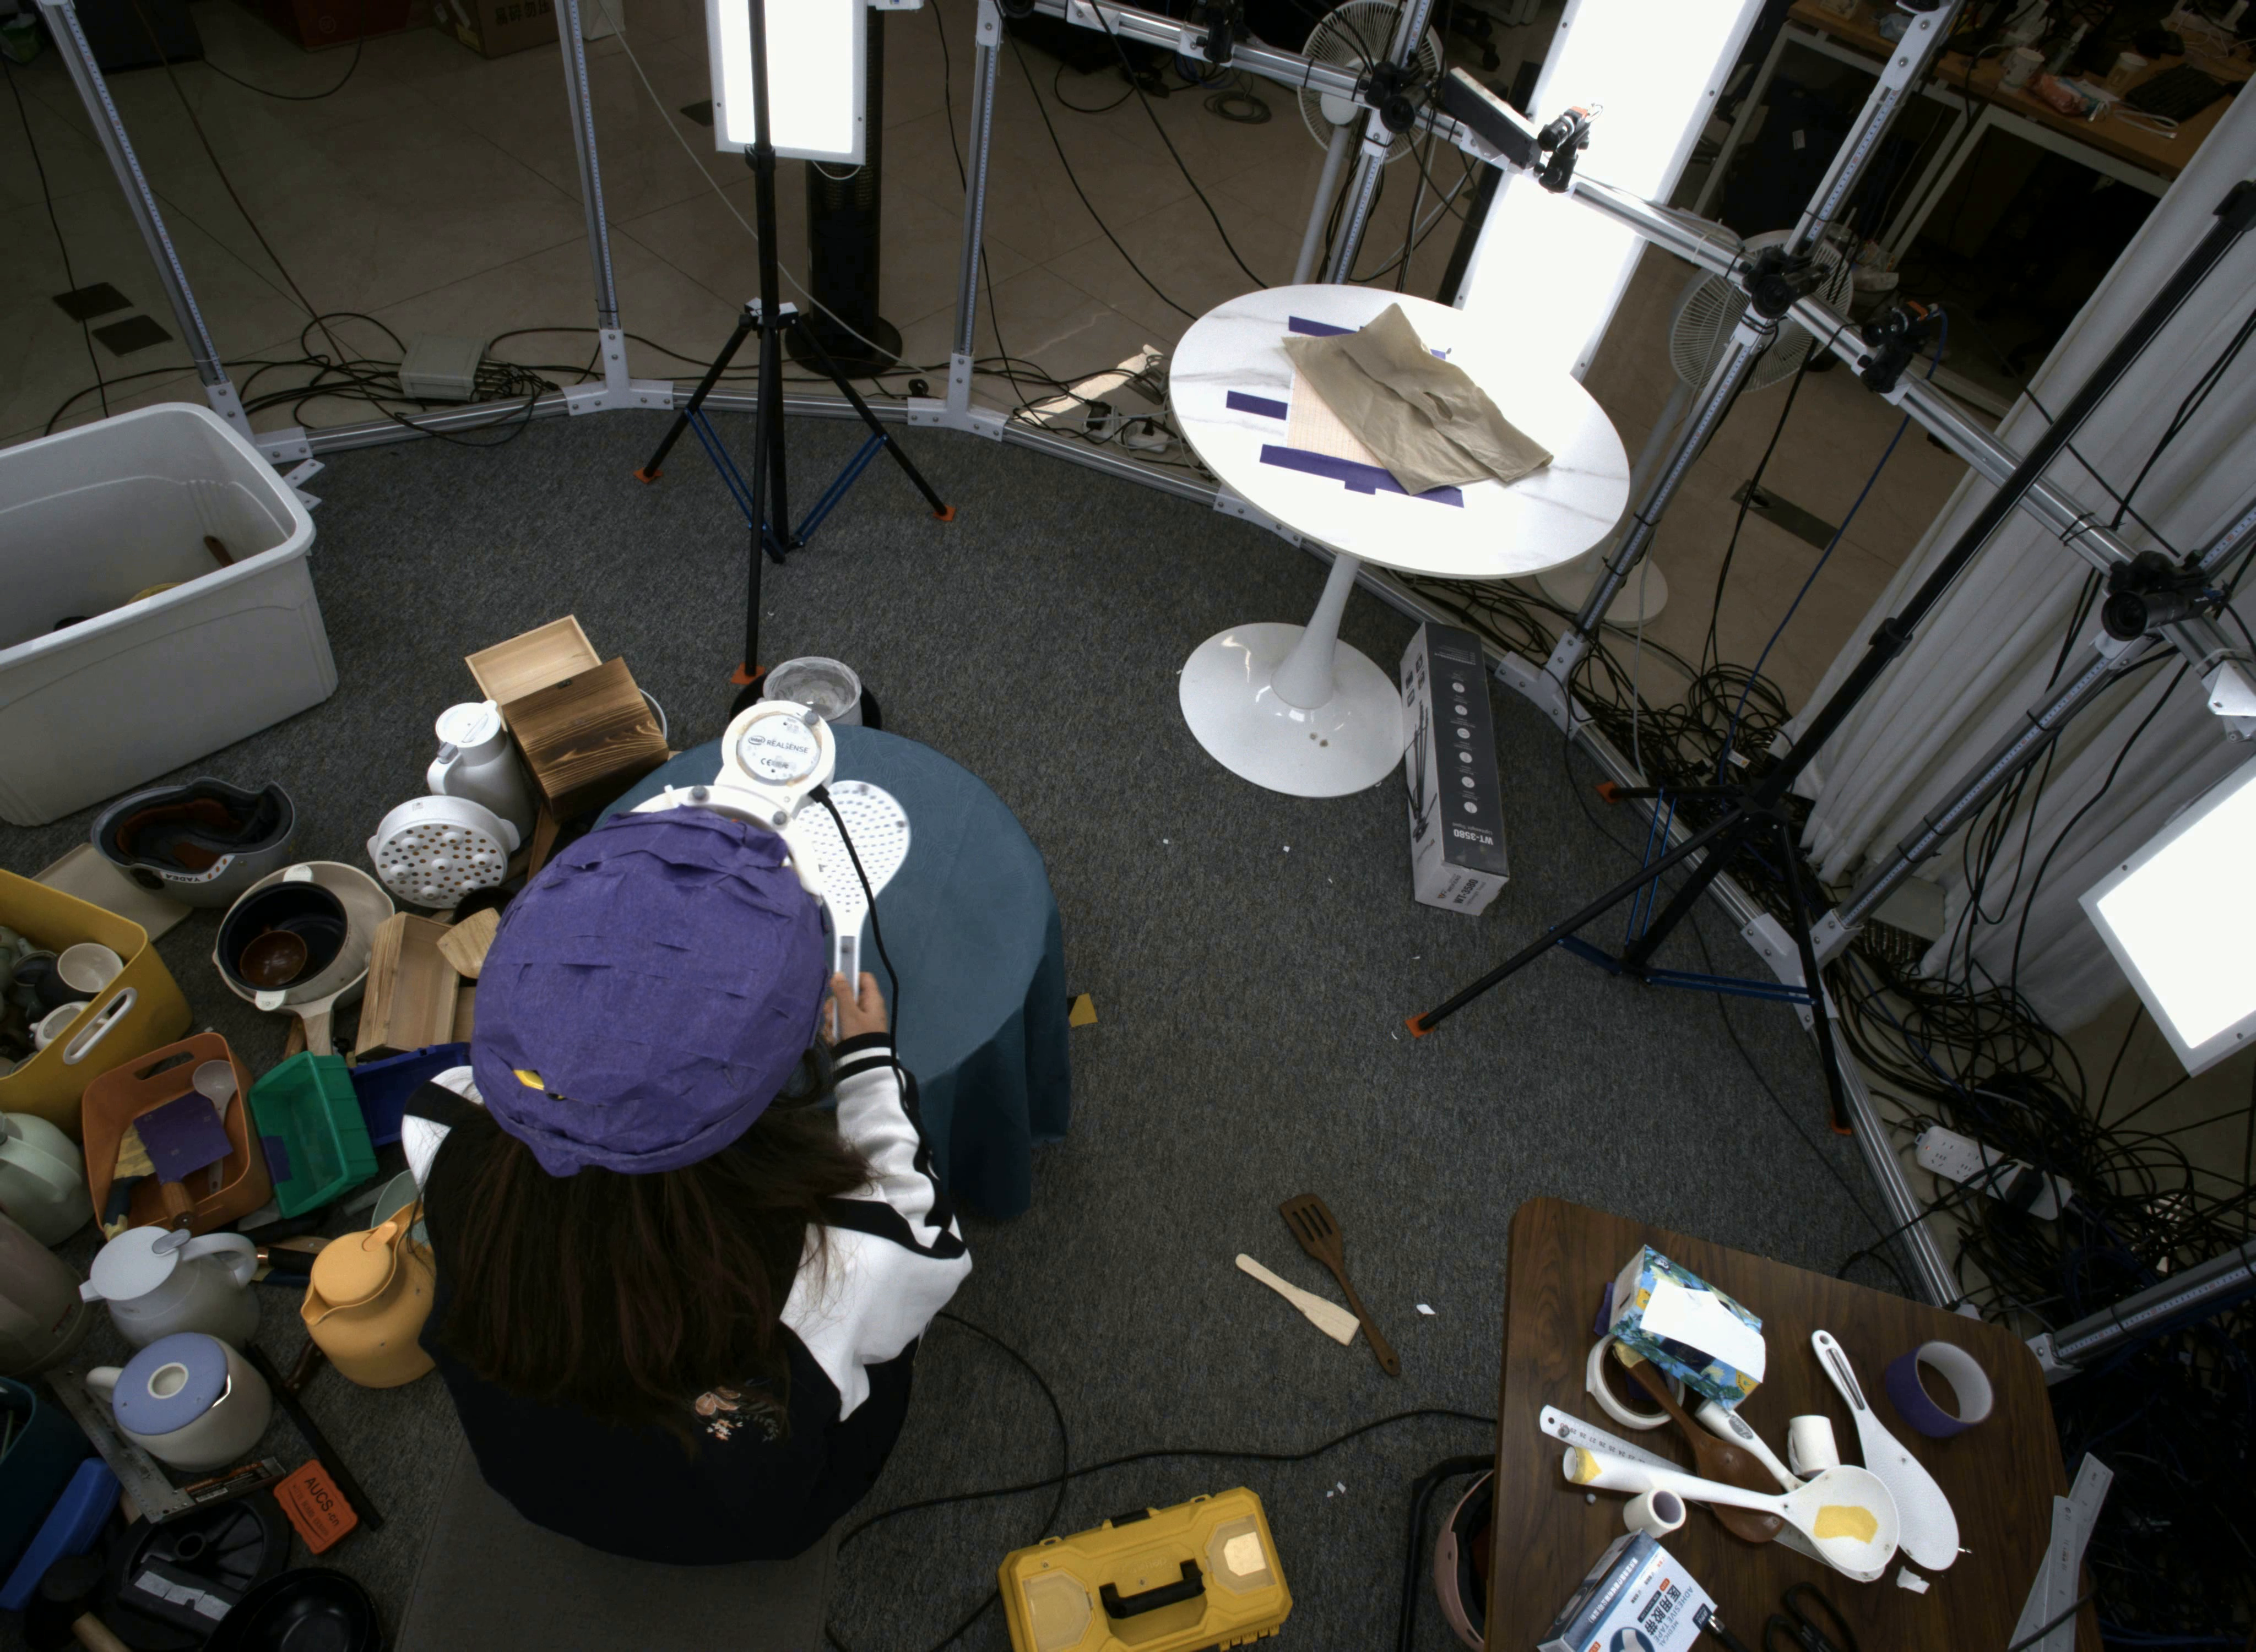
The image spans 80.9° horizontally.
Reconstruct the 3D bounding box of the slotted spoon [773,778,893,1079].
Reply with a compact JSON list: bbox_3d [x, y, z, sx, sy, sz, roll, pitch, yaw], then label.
[{"bbox_3d":[-0.332,0.108,1.459,0.137,0.046,0.345,2,63,-18],"label":"slotted spoon"}]

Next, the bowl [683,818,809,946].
[{"bbox_3d":[-0.461,0.078,1.567,0.148,0.106,0.145,10,49,-10],"label":"bowl"}]
